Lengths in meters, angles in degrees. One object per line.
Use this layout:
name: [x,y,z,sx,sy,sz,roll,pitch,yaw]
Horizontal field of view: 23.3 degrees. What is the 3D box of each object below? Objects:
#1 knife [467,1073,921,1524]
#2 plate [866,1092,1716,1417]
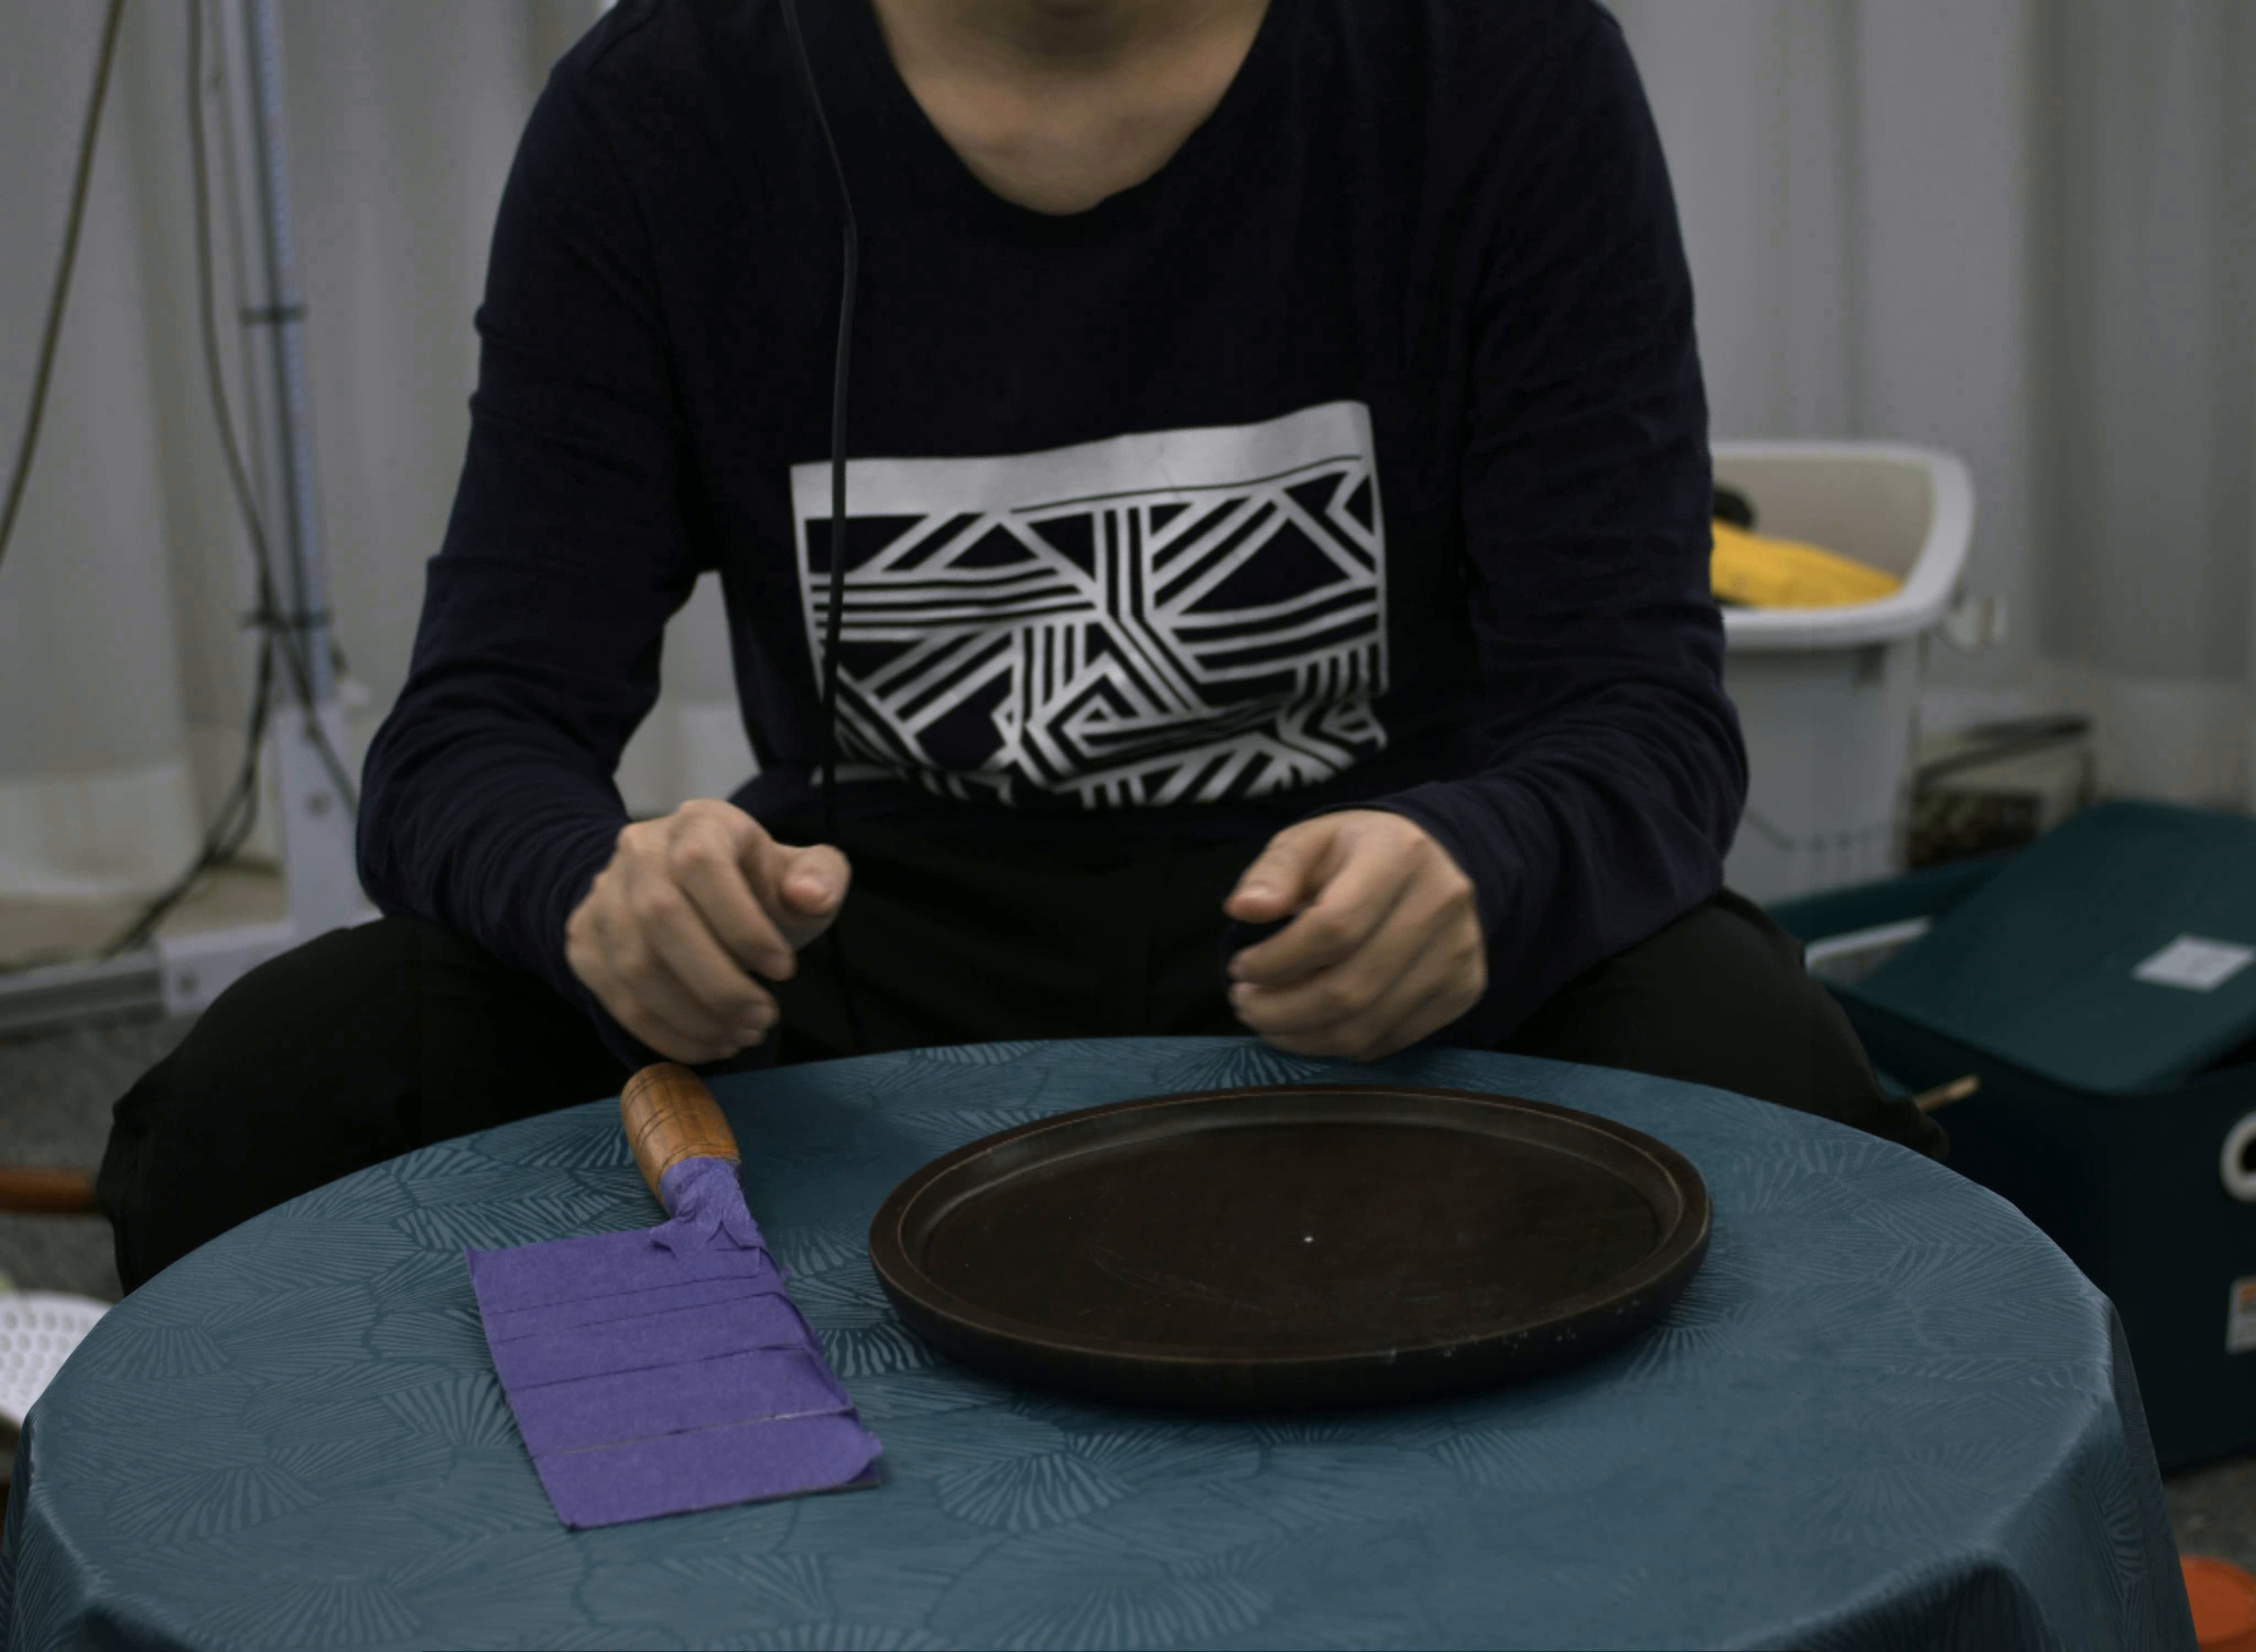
knife: [-0.144,0.135,1.615,0.103,0.032,0.318,-6,16,-13]
plate: [0.048,0.124,1.626,0.254,0.029,0.256,-2,16,0]
